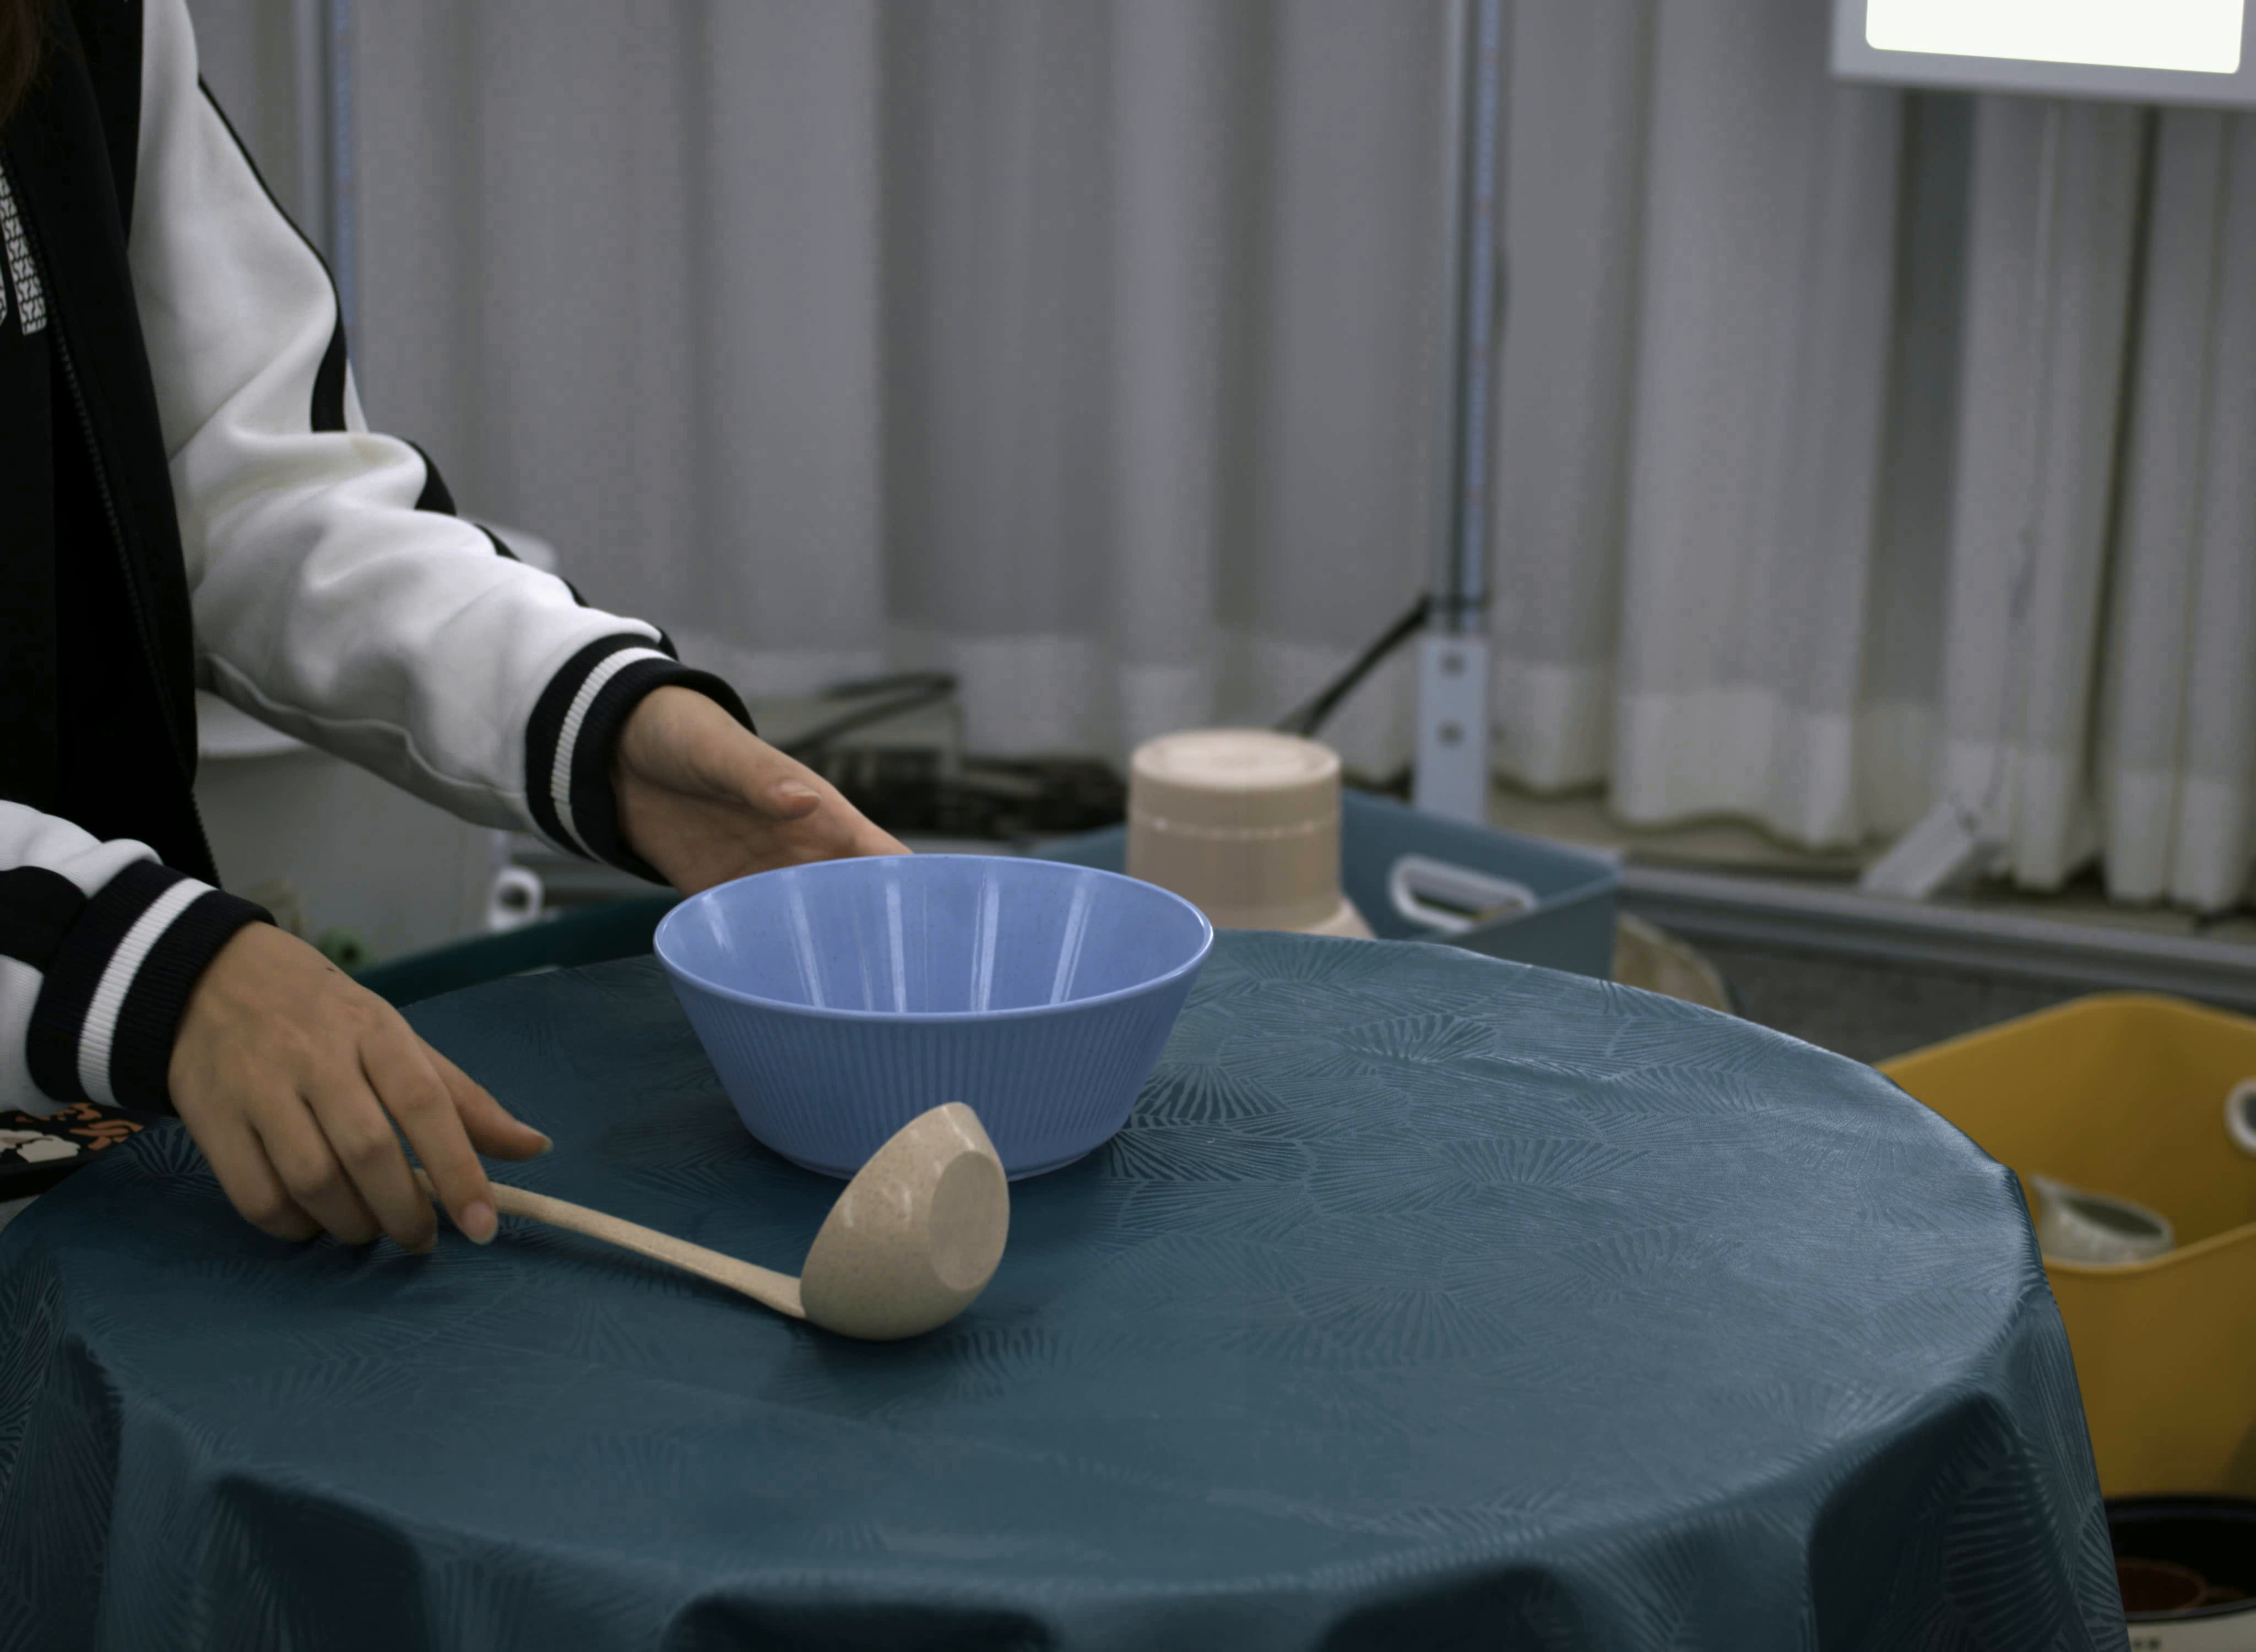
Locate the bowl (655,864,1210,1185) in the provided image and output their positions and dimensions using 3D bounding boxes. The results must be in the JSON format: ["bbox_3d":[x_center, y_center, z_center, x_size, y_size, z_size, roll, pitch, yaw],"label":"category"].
[{"bbox_3d":[-0.062,0.065,1.661,0.175,0.071,0.175,1,15,0],"label":"bowl"}]

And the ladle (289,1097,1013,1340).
[{"bbox_3d":[-0.148,0.096,1.539,0.251,0.073,0.072,10,17,31],"label":"ladle"}]
